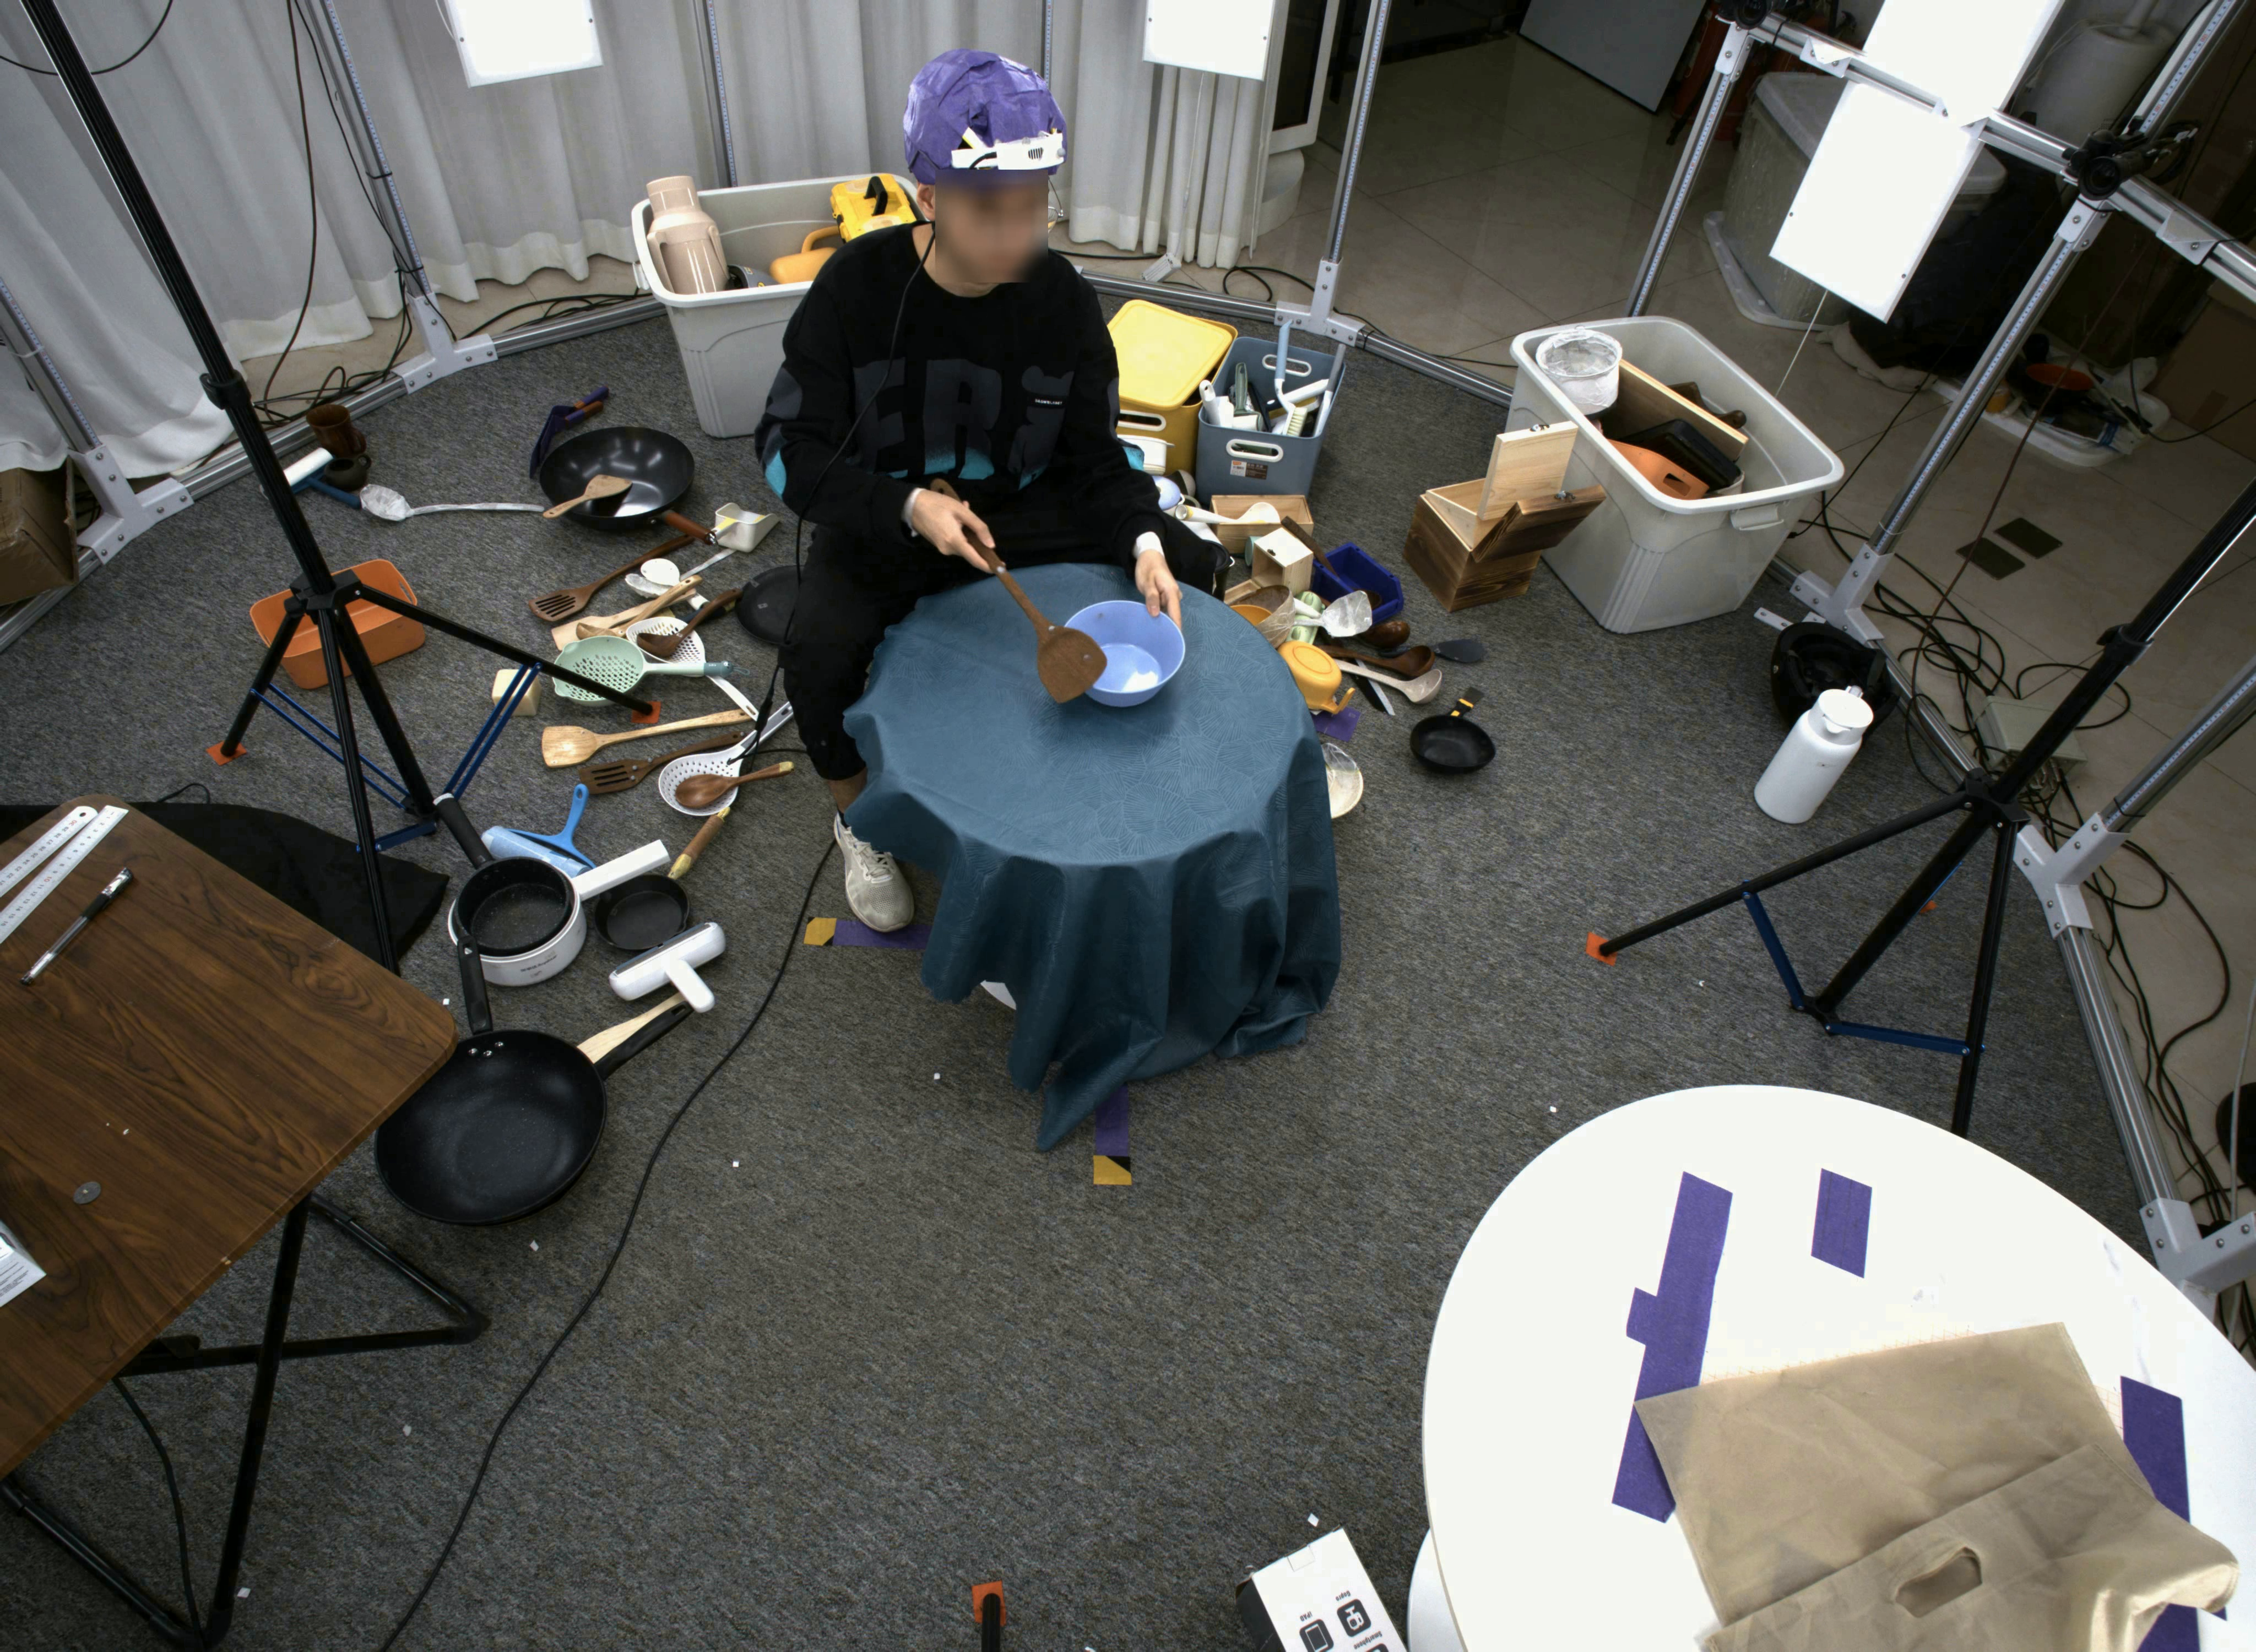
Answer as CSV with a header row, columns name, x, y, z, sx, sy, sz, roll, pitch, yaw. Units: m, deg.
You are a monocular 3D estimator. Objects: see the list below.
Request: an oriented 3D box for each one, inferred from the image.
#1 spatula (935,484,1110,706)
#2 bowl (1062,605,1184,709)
name,x,y,z,sx,sy,sz,roll,pitch,yaw
spatula,-0.161,-0.335,1.804,0.095,0.015,0.390,-39,76,10
bowl,-0.010,-0.231,1.831,0.176,0.068,0.180,1,51,-2
